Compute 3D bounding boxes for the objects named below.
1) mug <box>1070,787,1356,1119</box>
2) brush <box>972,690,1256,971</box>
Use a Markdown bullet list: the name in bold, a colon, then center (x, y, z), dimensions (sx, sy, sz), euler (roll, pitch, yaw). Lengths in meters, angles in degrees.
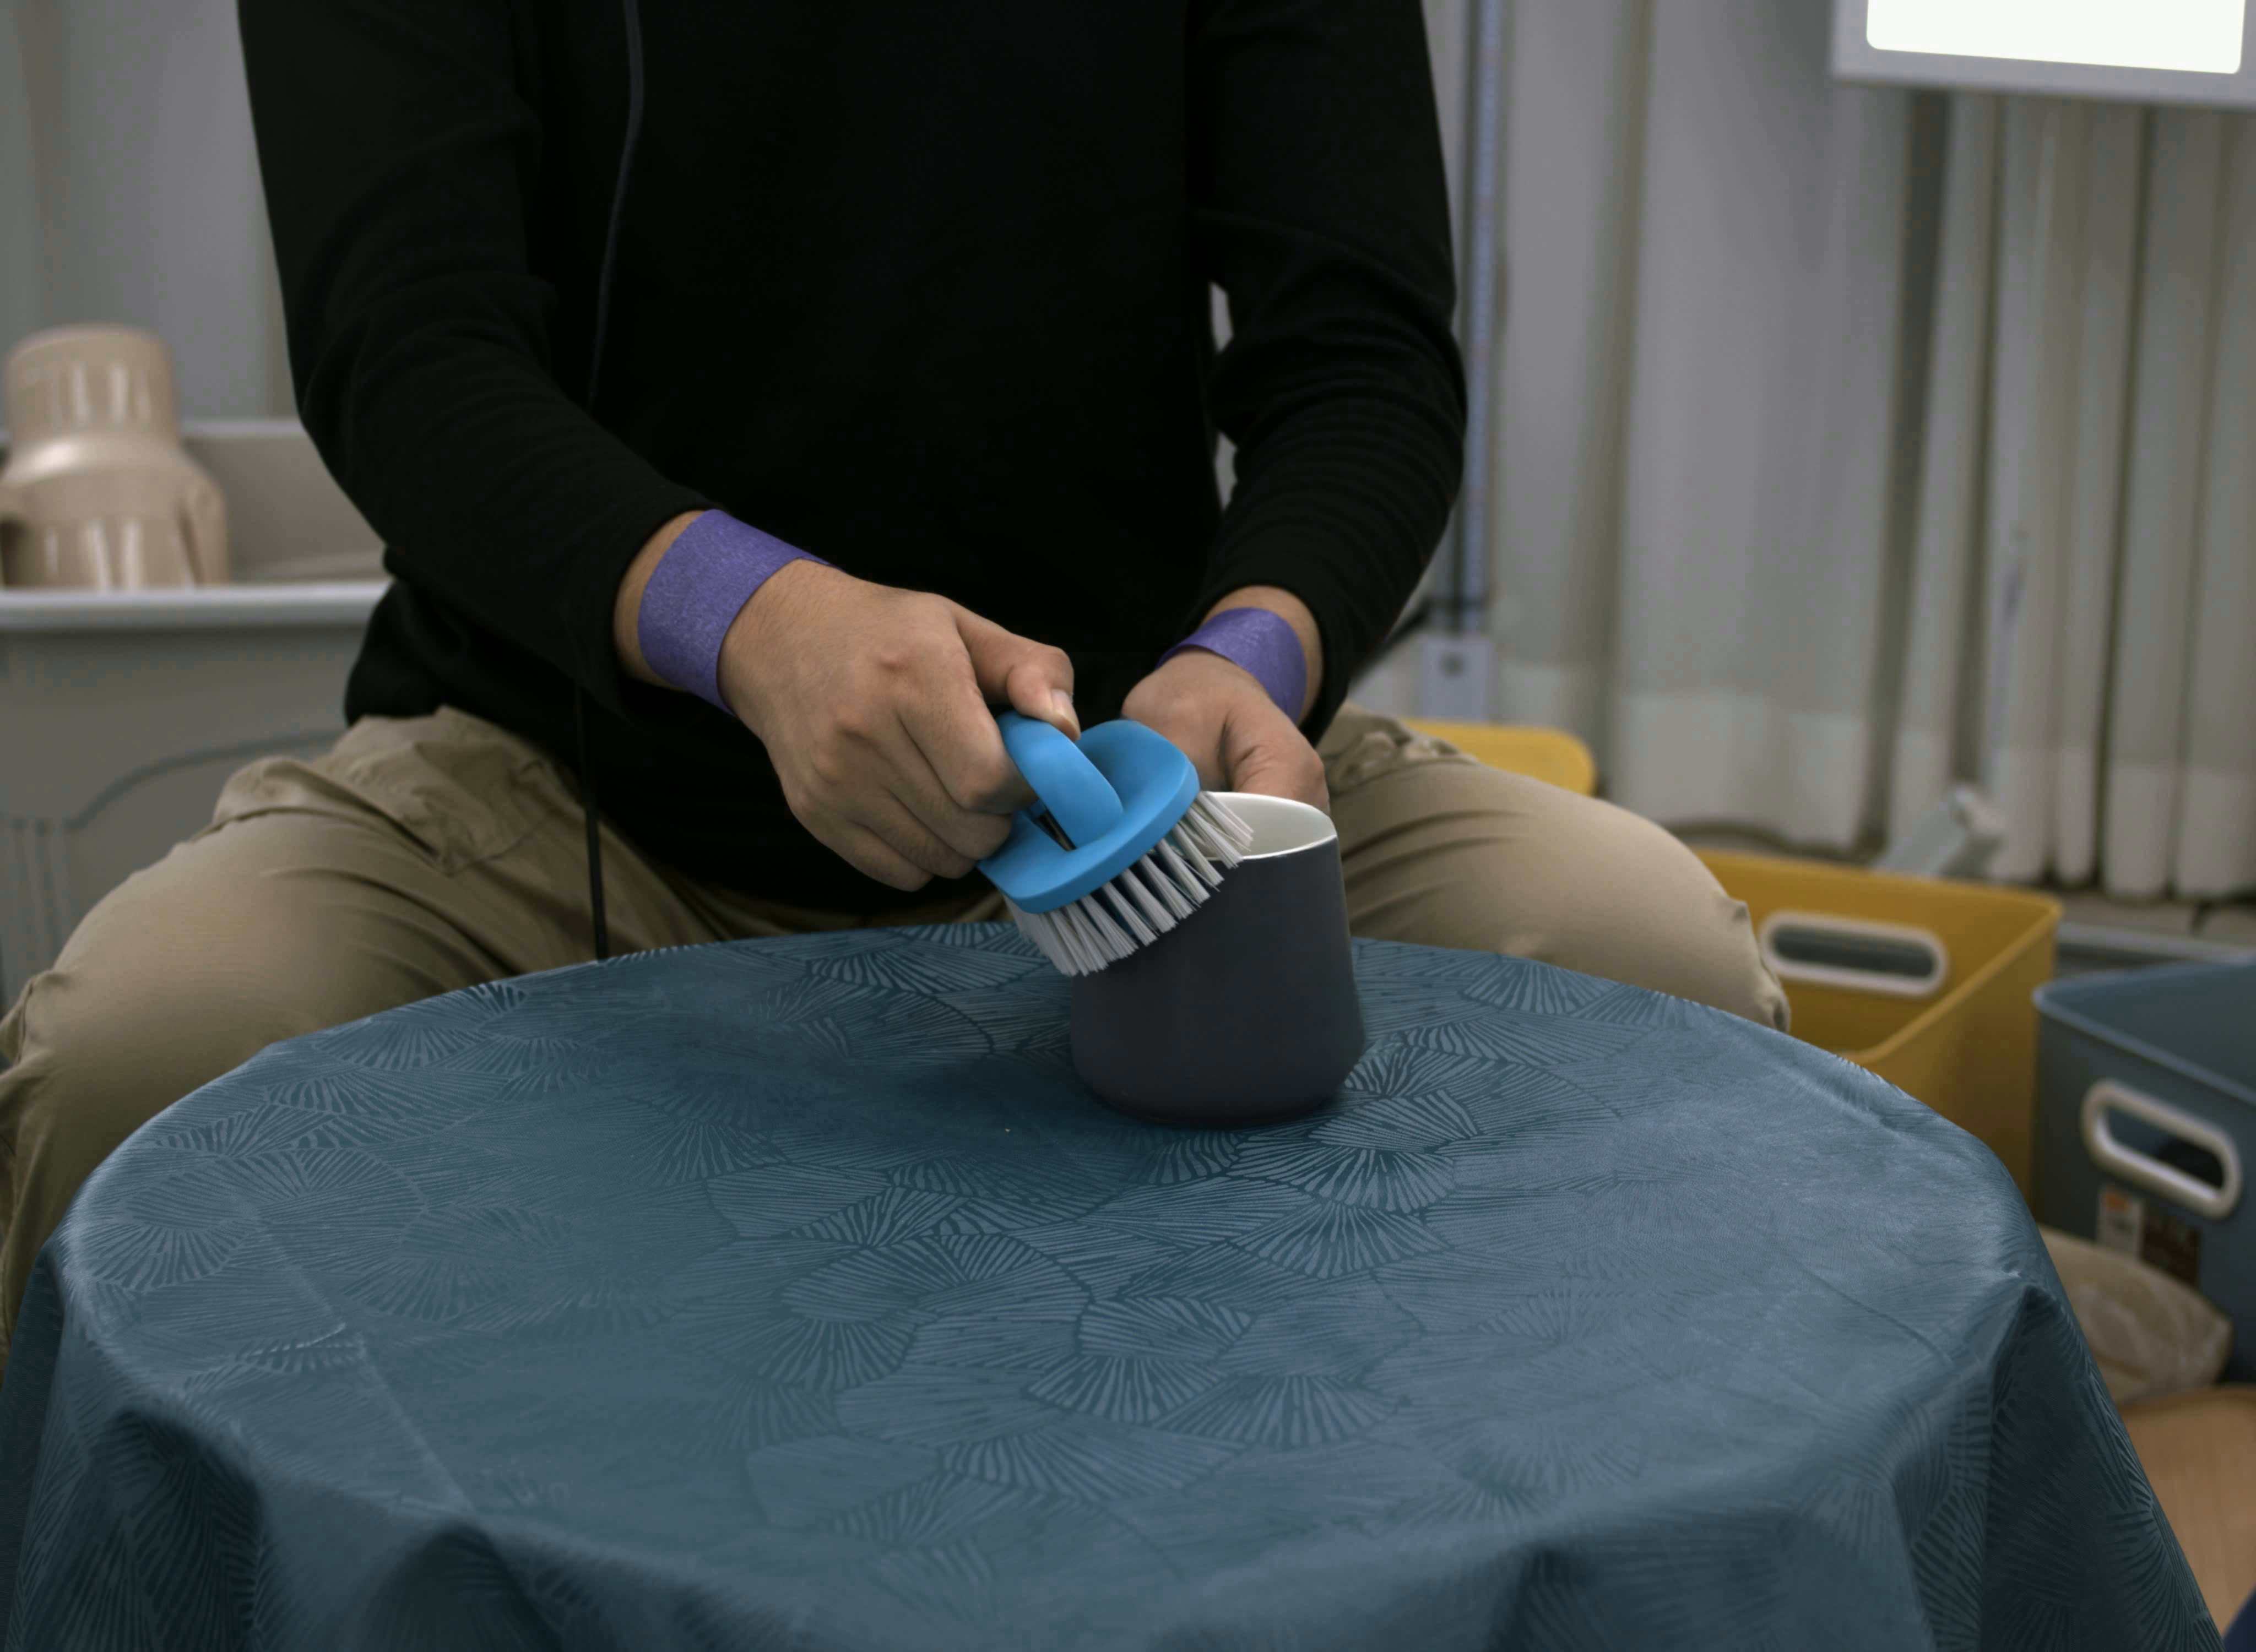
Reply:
- **mug**: center (0.027, 0.036, 1.719), dimensions (0.093, 0.090, 0.122), euler (-1, 18, -7)
- **brush**: center (-0.015, -0.010, 1.695), dimensions (0.084, 0.064, 0.140), euler (-42, 17, -1)
